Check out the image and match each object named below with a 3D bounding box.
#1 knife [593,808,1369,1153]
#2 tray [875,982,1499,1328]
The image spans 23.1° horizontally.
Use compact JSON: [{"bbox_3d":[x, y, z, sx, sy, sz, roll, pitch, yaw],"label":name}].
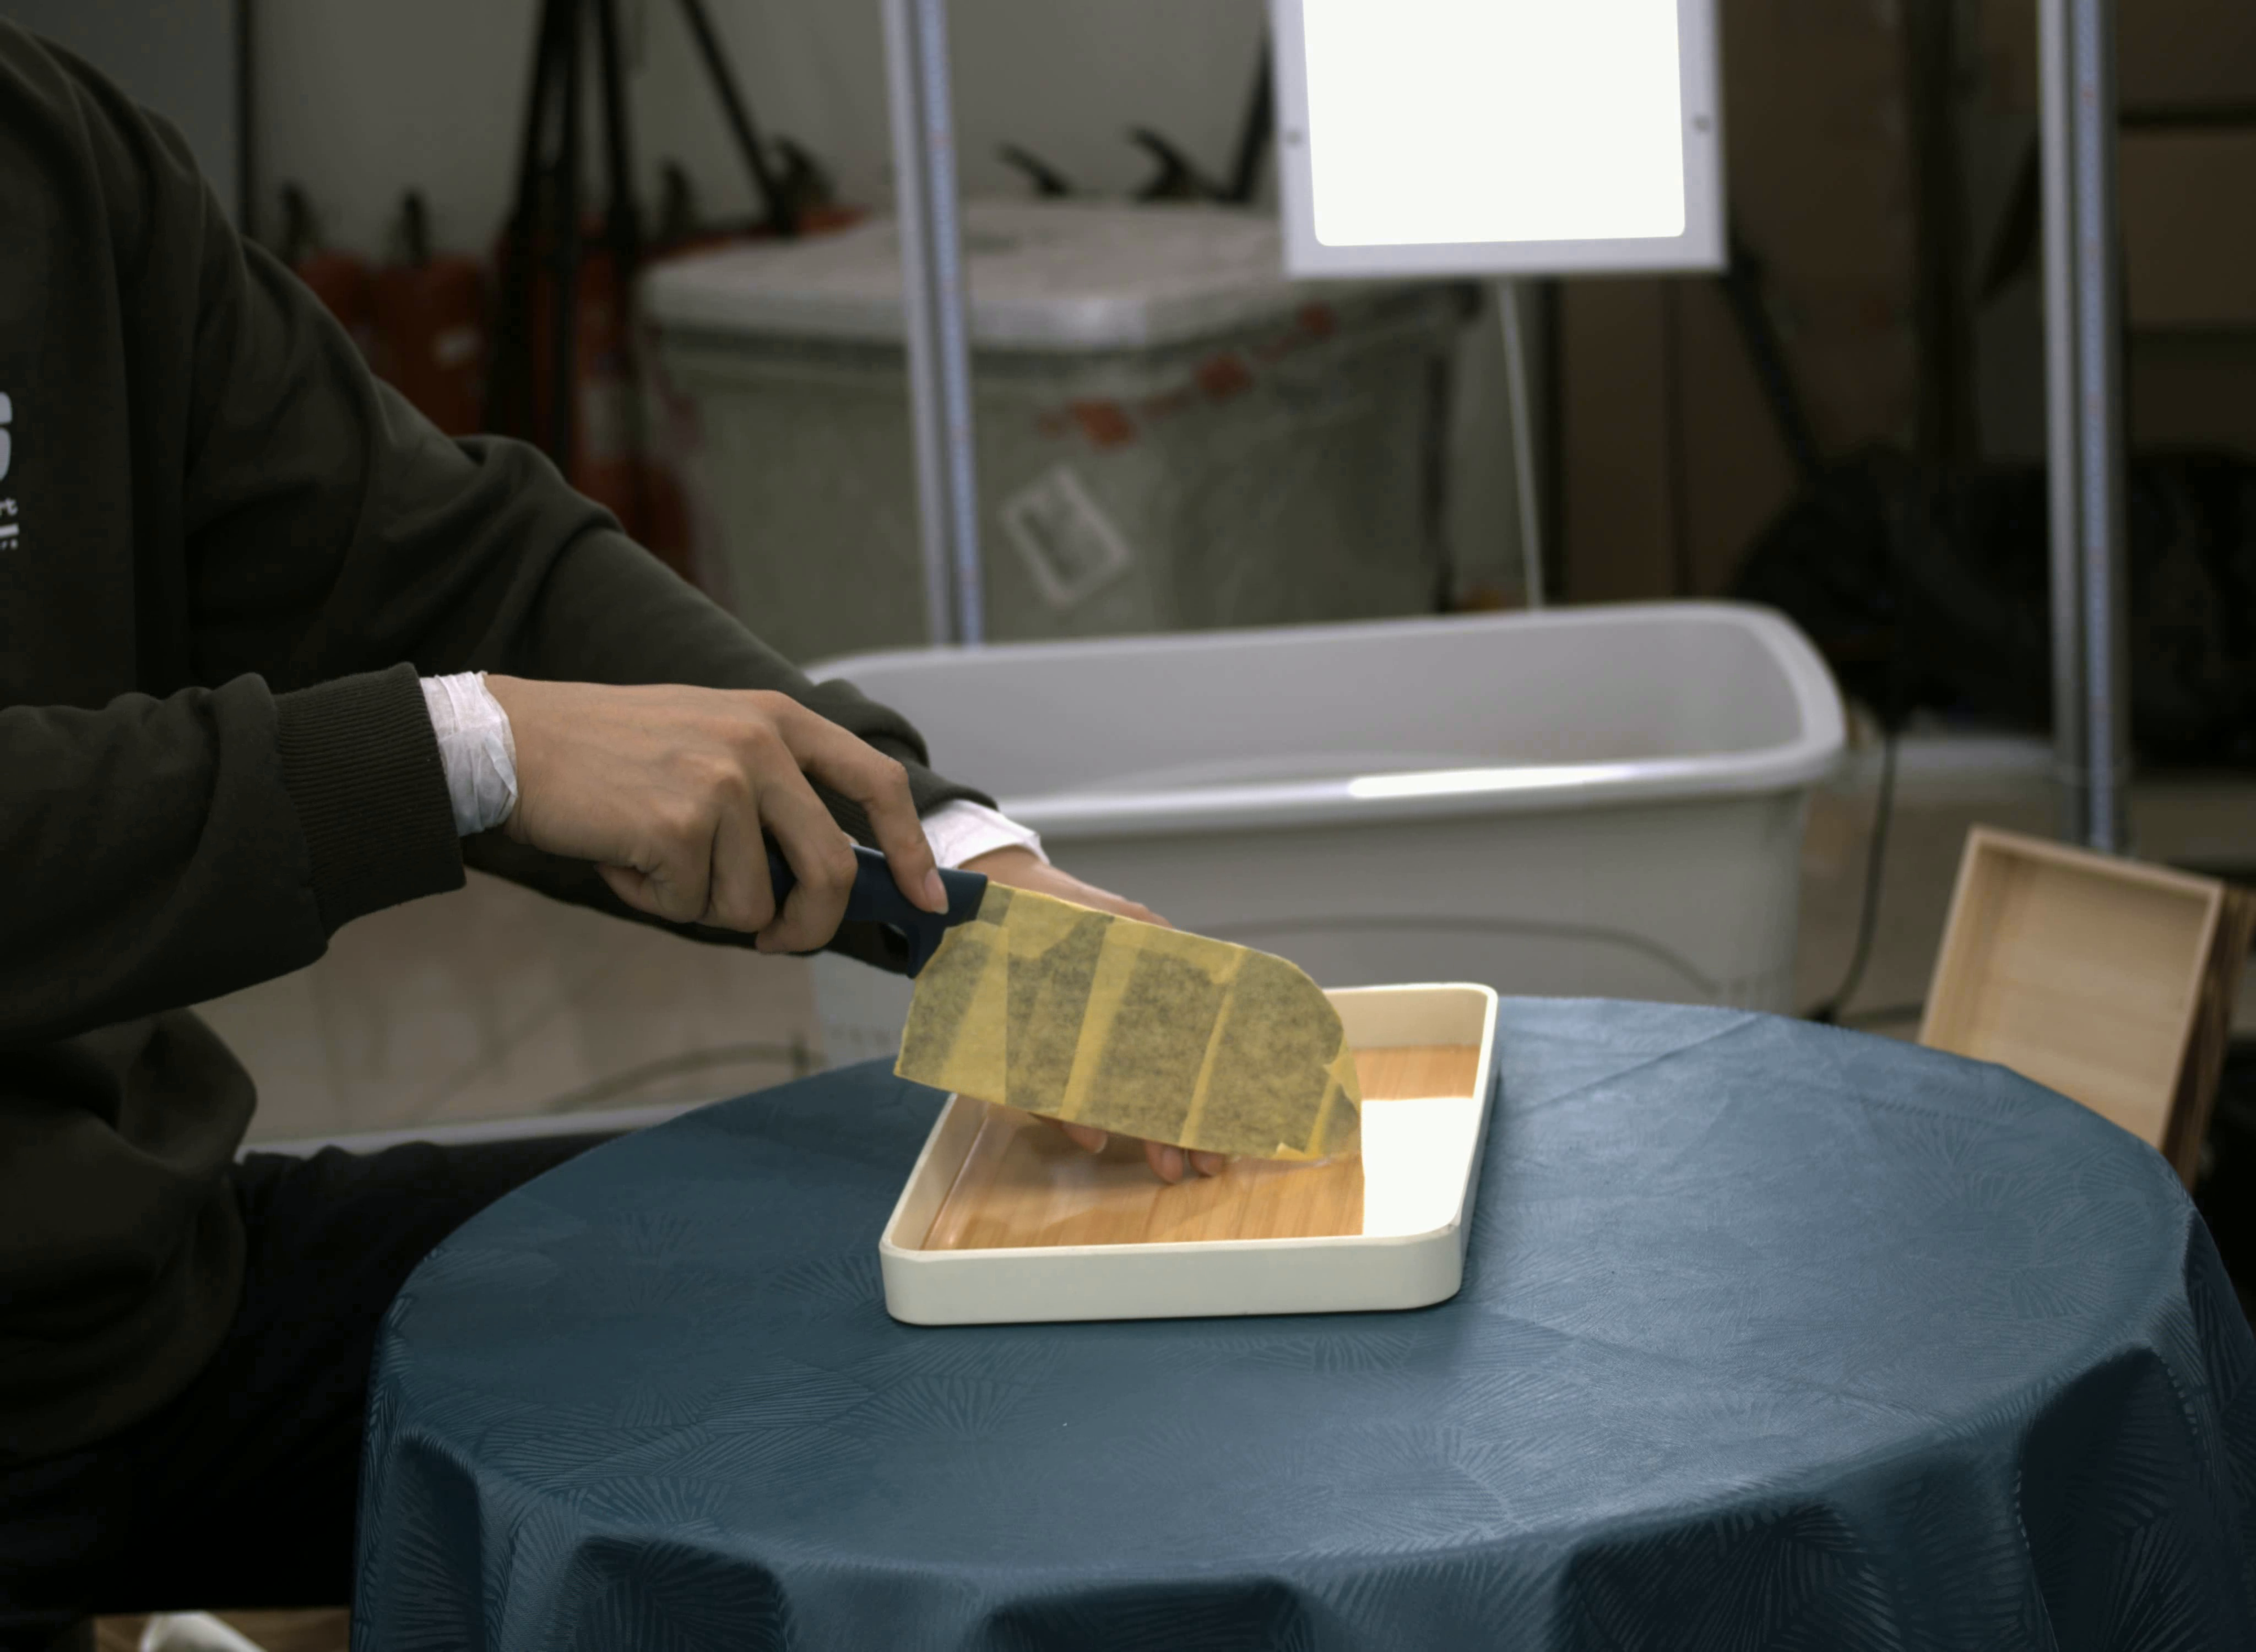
[{"bbox_3d":[-0.048,0.052,1.856,0.286,0.081,0.027,18,1,-14],"label":"knife"},{"bbox_3d":[0.027,0.110,1.904,0.192,0.027,0.297,-4,13,9],"label":"tray"}]
